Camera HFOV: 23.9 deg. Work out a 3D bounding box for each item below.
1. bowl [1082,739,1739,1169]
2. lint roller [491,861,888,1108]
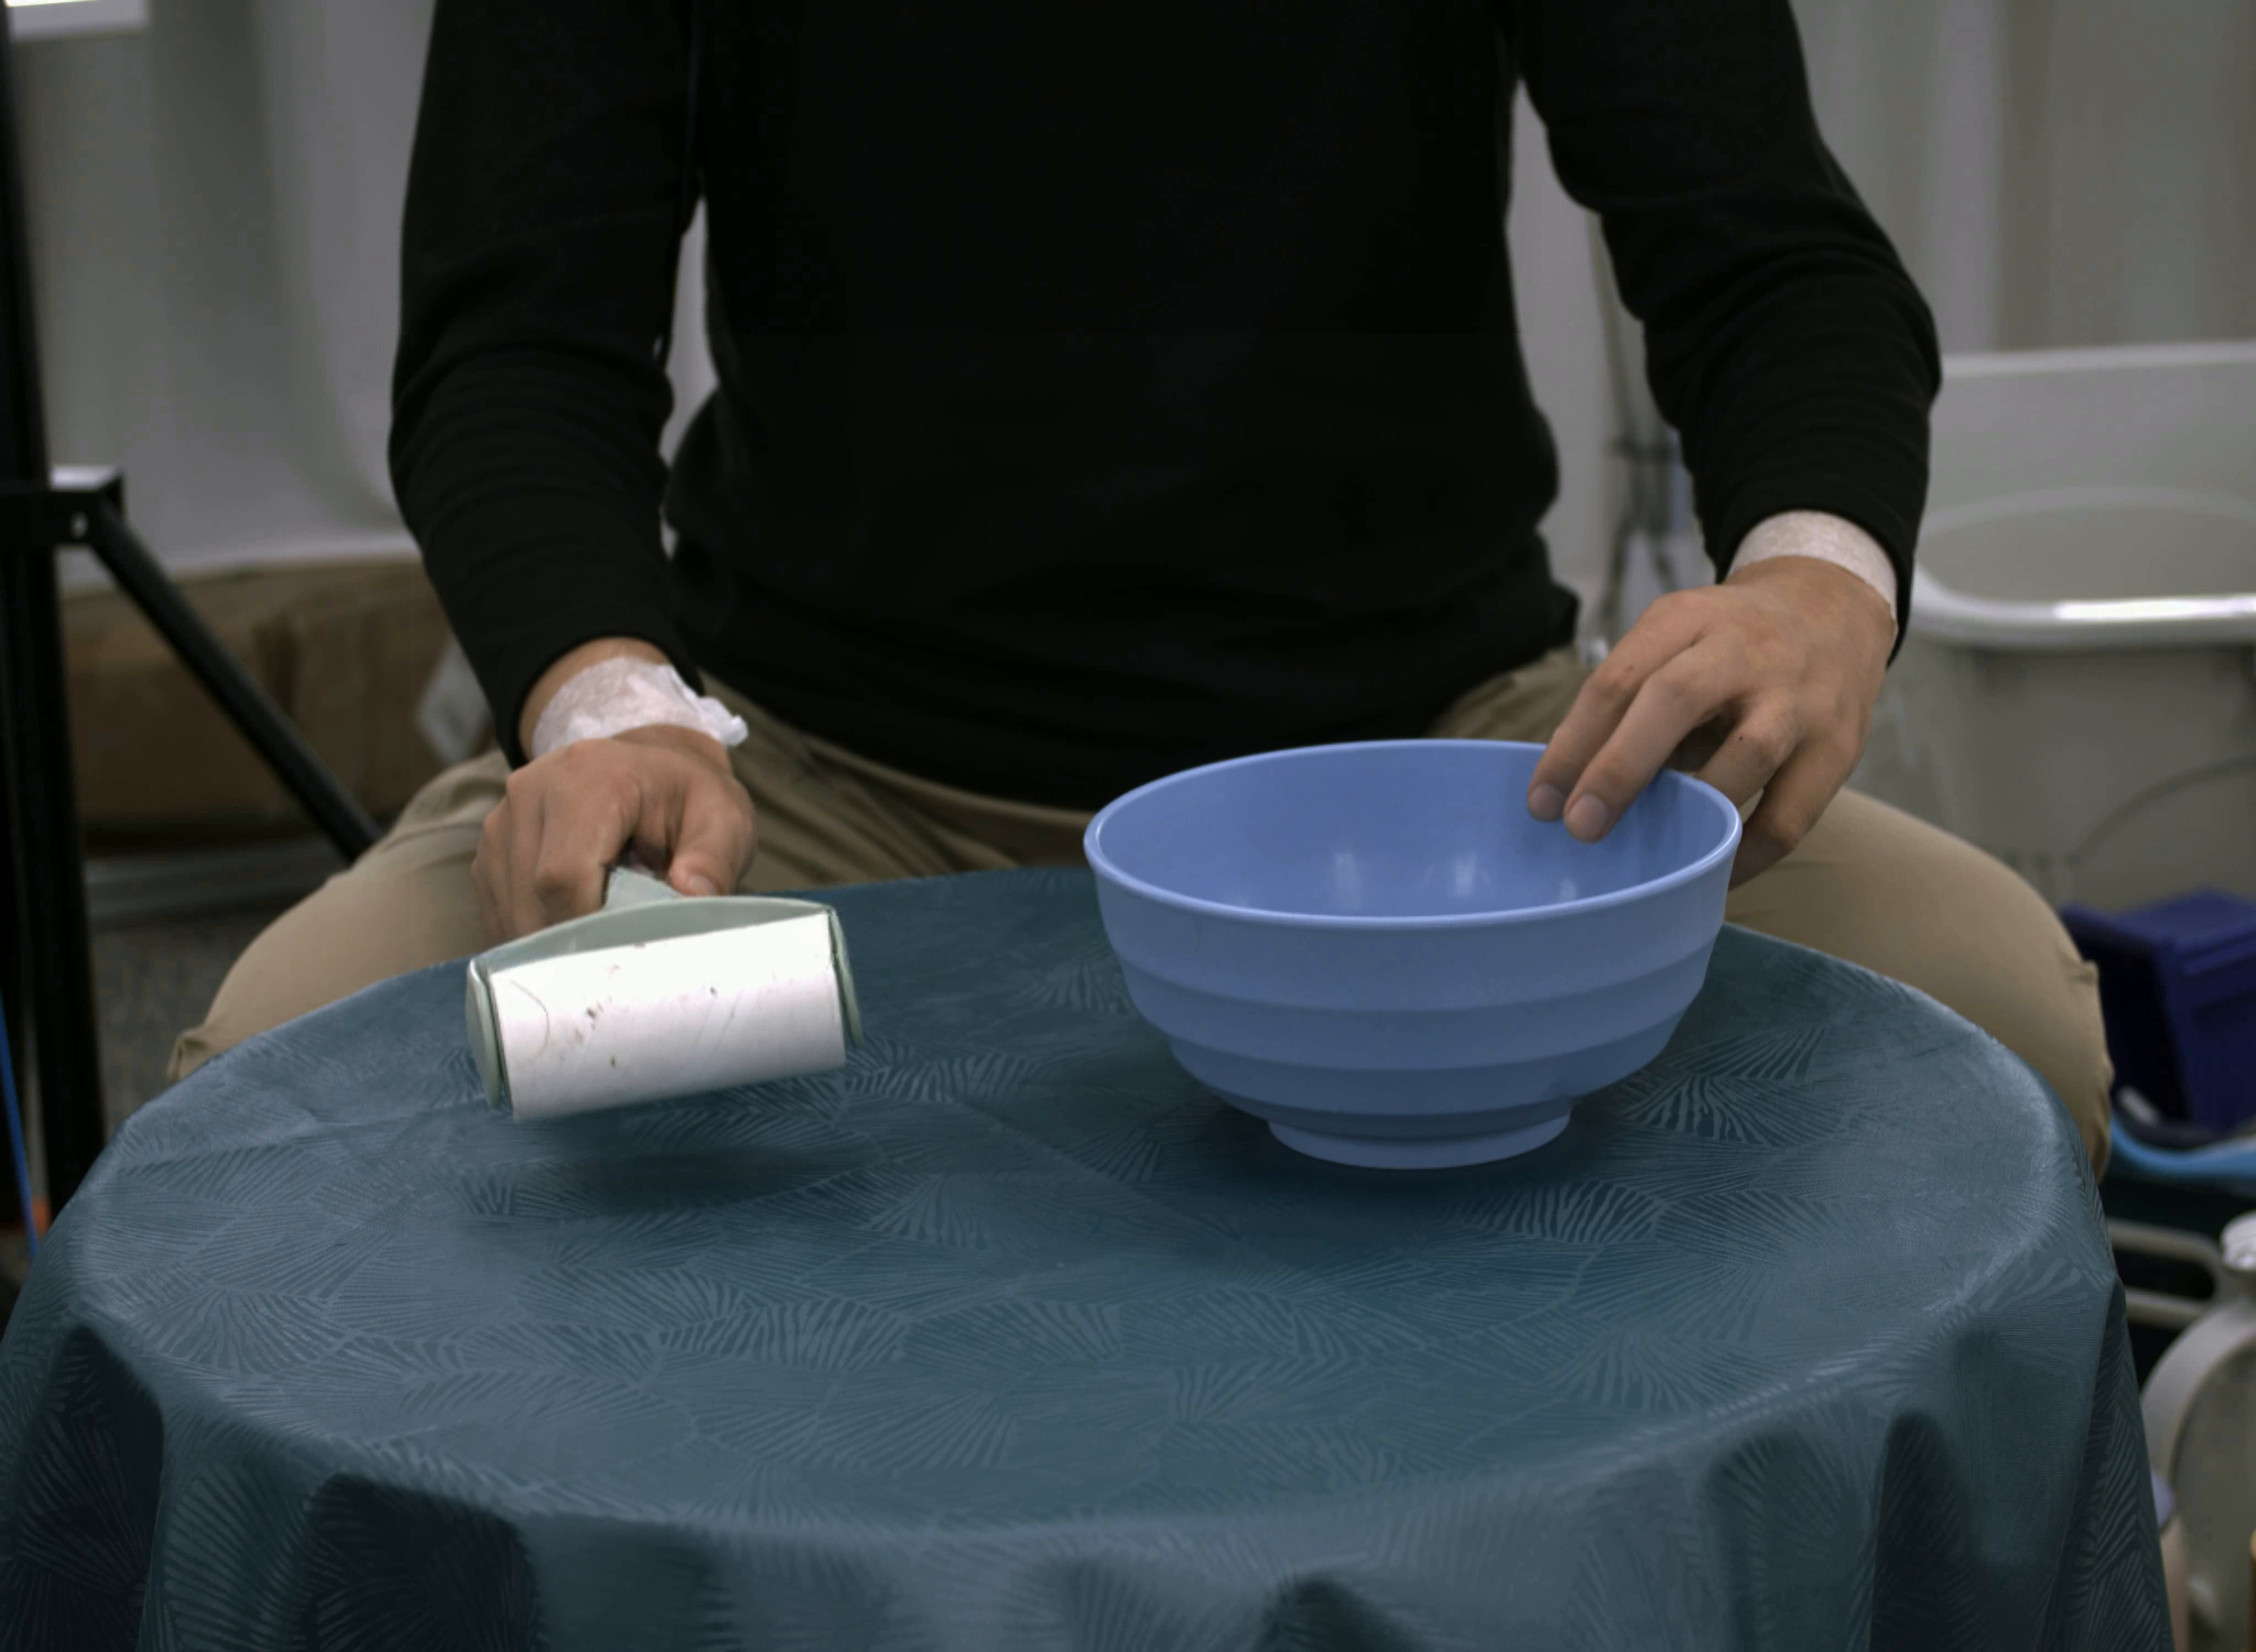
[{"bbox_3d":[0.086,0.044,1.594,0.195,0.095,0.197,-4,16,0],"label":"bowl"},{"bbox_3d":[-0.141,0.036,1.650,0.115,0.048,0.199,-10,15,-7],"label":"lint roller"}]
